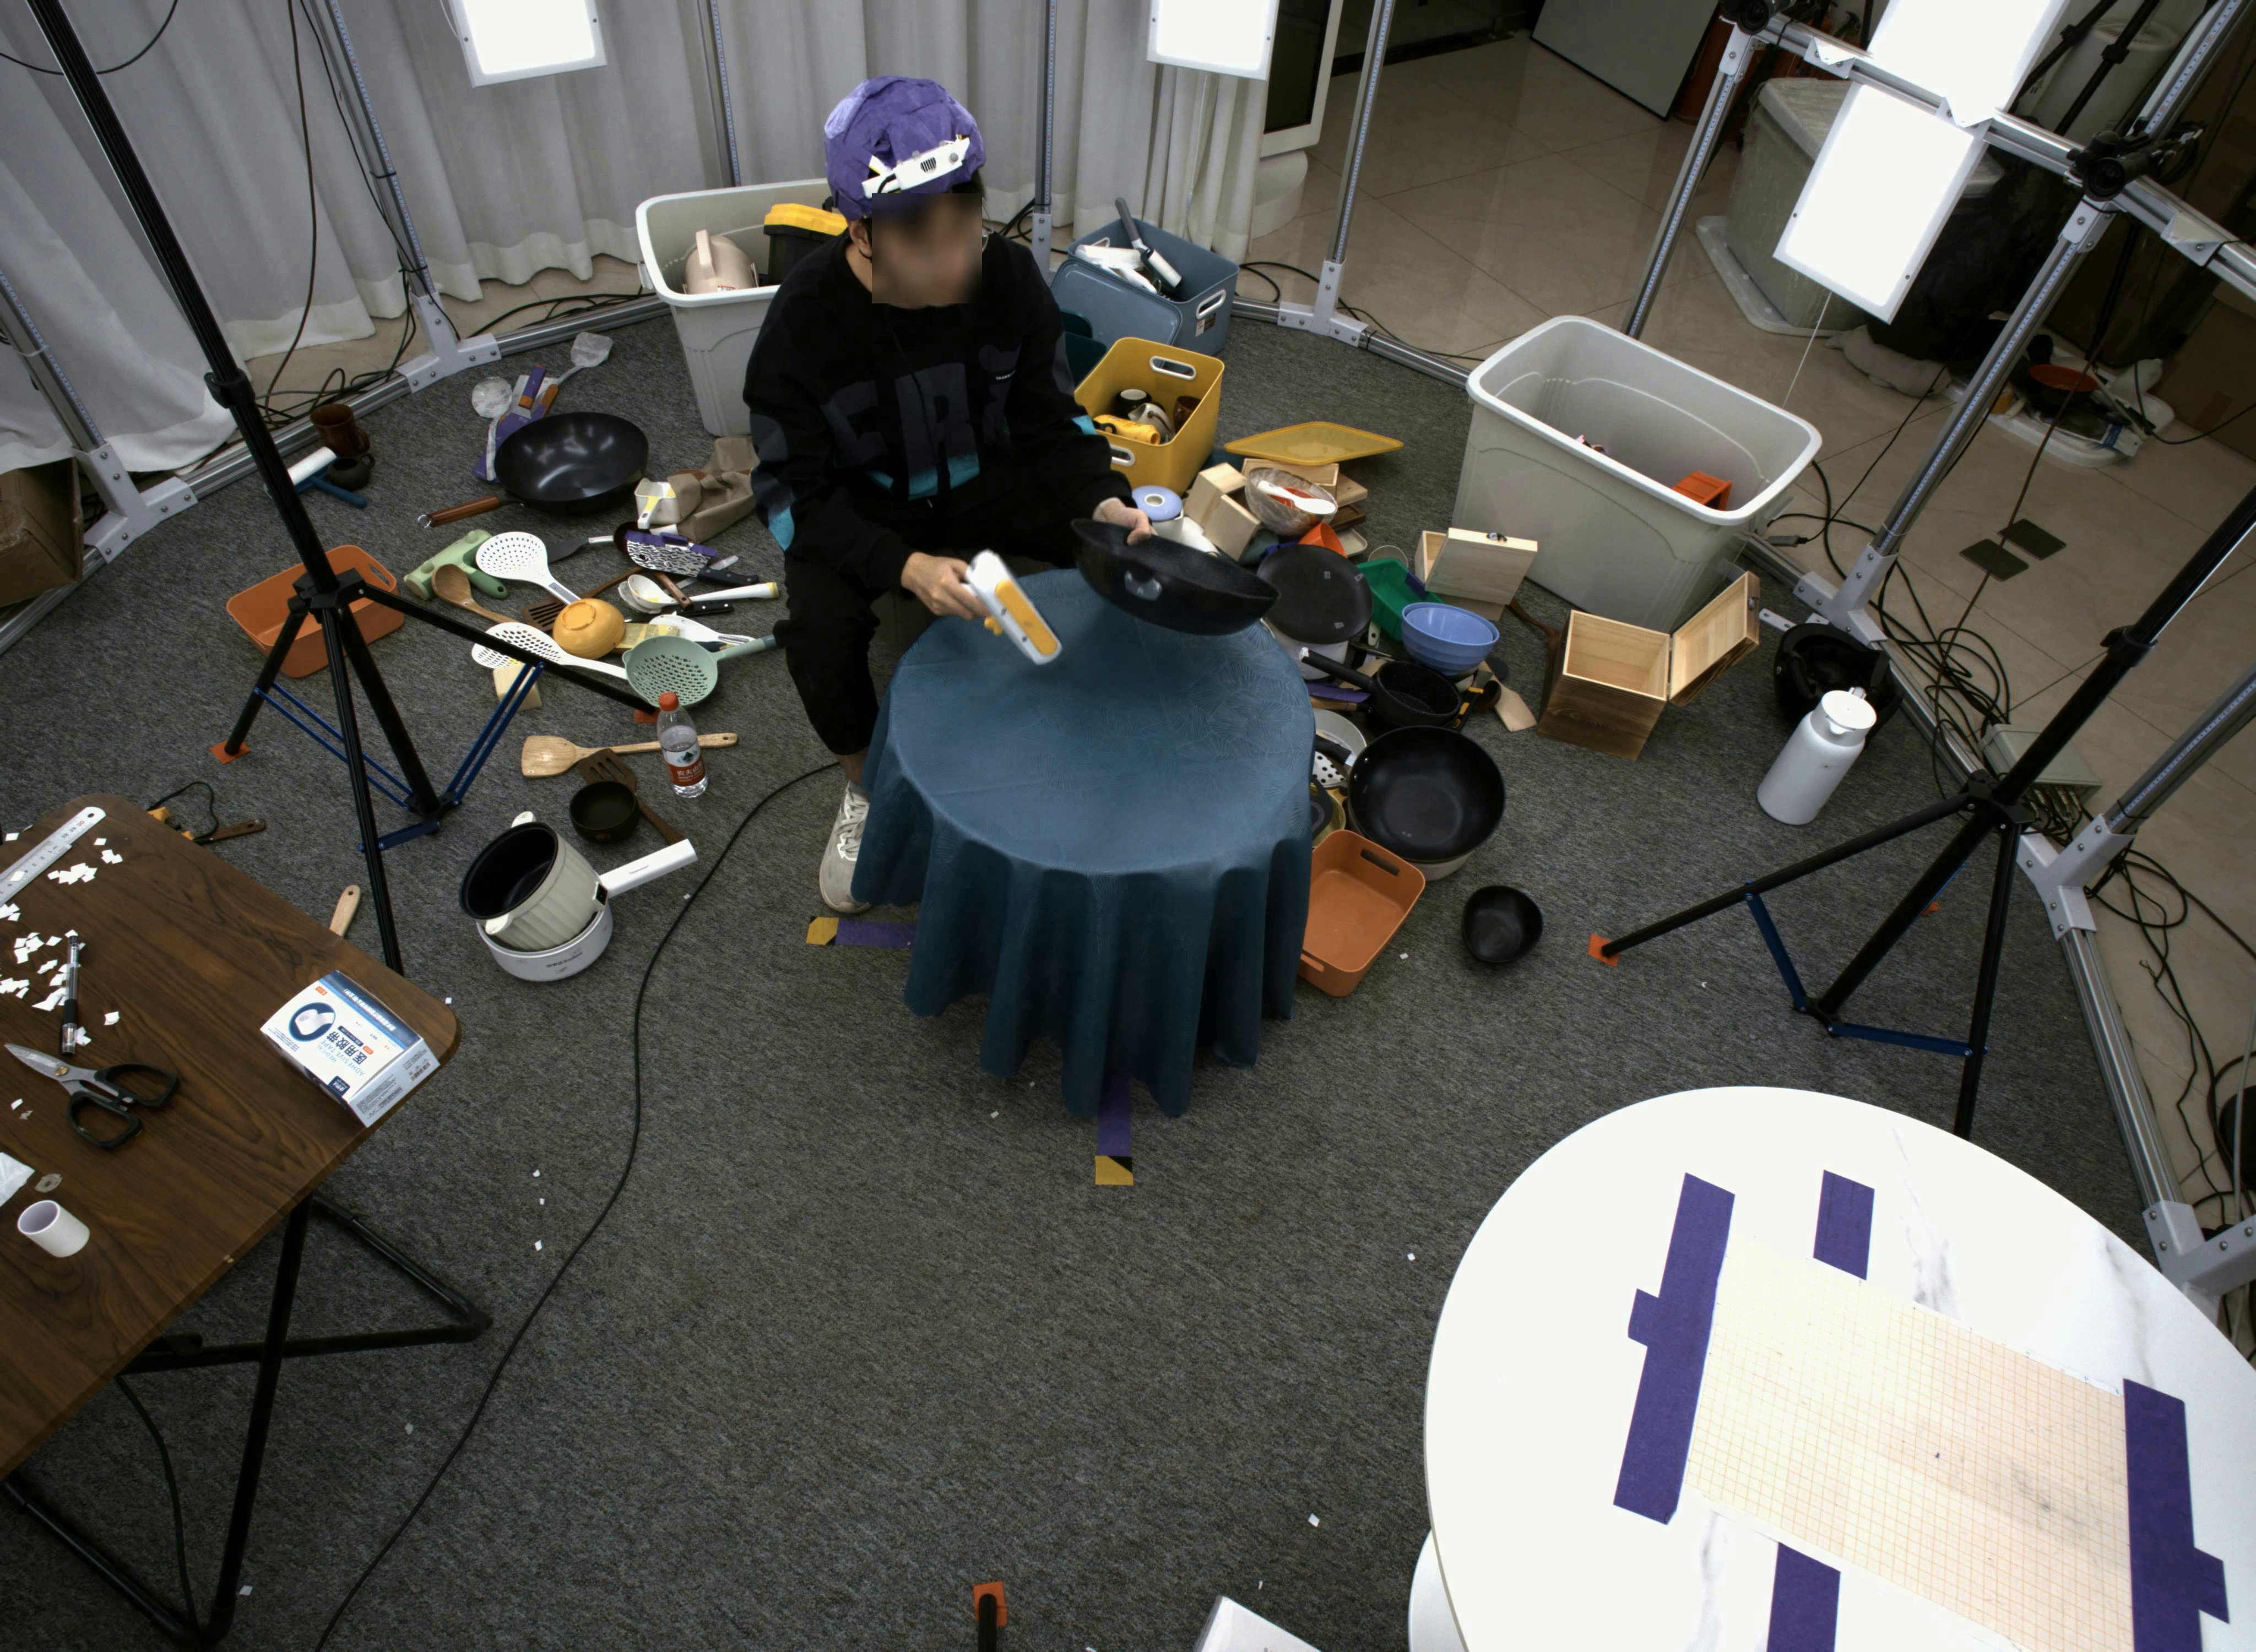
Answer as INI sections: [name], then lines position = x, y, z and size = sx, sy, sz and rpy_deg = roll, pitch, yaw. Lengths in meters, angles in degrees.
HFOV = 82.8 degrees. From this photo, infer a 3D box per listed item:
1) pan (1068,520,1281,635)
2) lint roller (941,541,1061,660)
[pan]
position = 0.035, -0.327, 1.712
size = 0.311, 0.110, 0.480
rpy_deg = 22, 18, 10
[lint roller]
position = -0.195, -0.322, 1.804
size = 0.074, 0.189, 0.196
rpy_deg = -49, 40, -7
